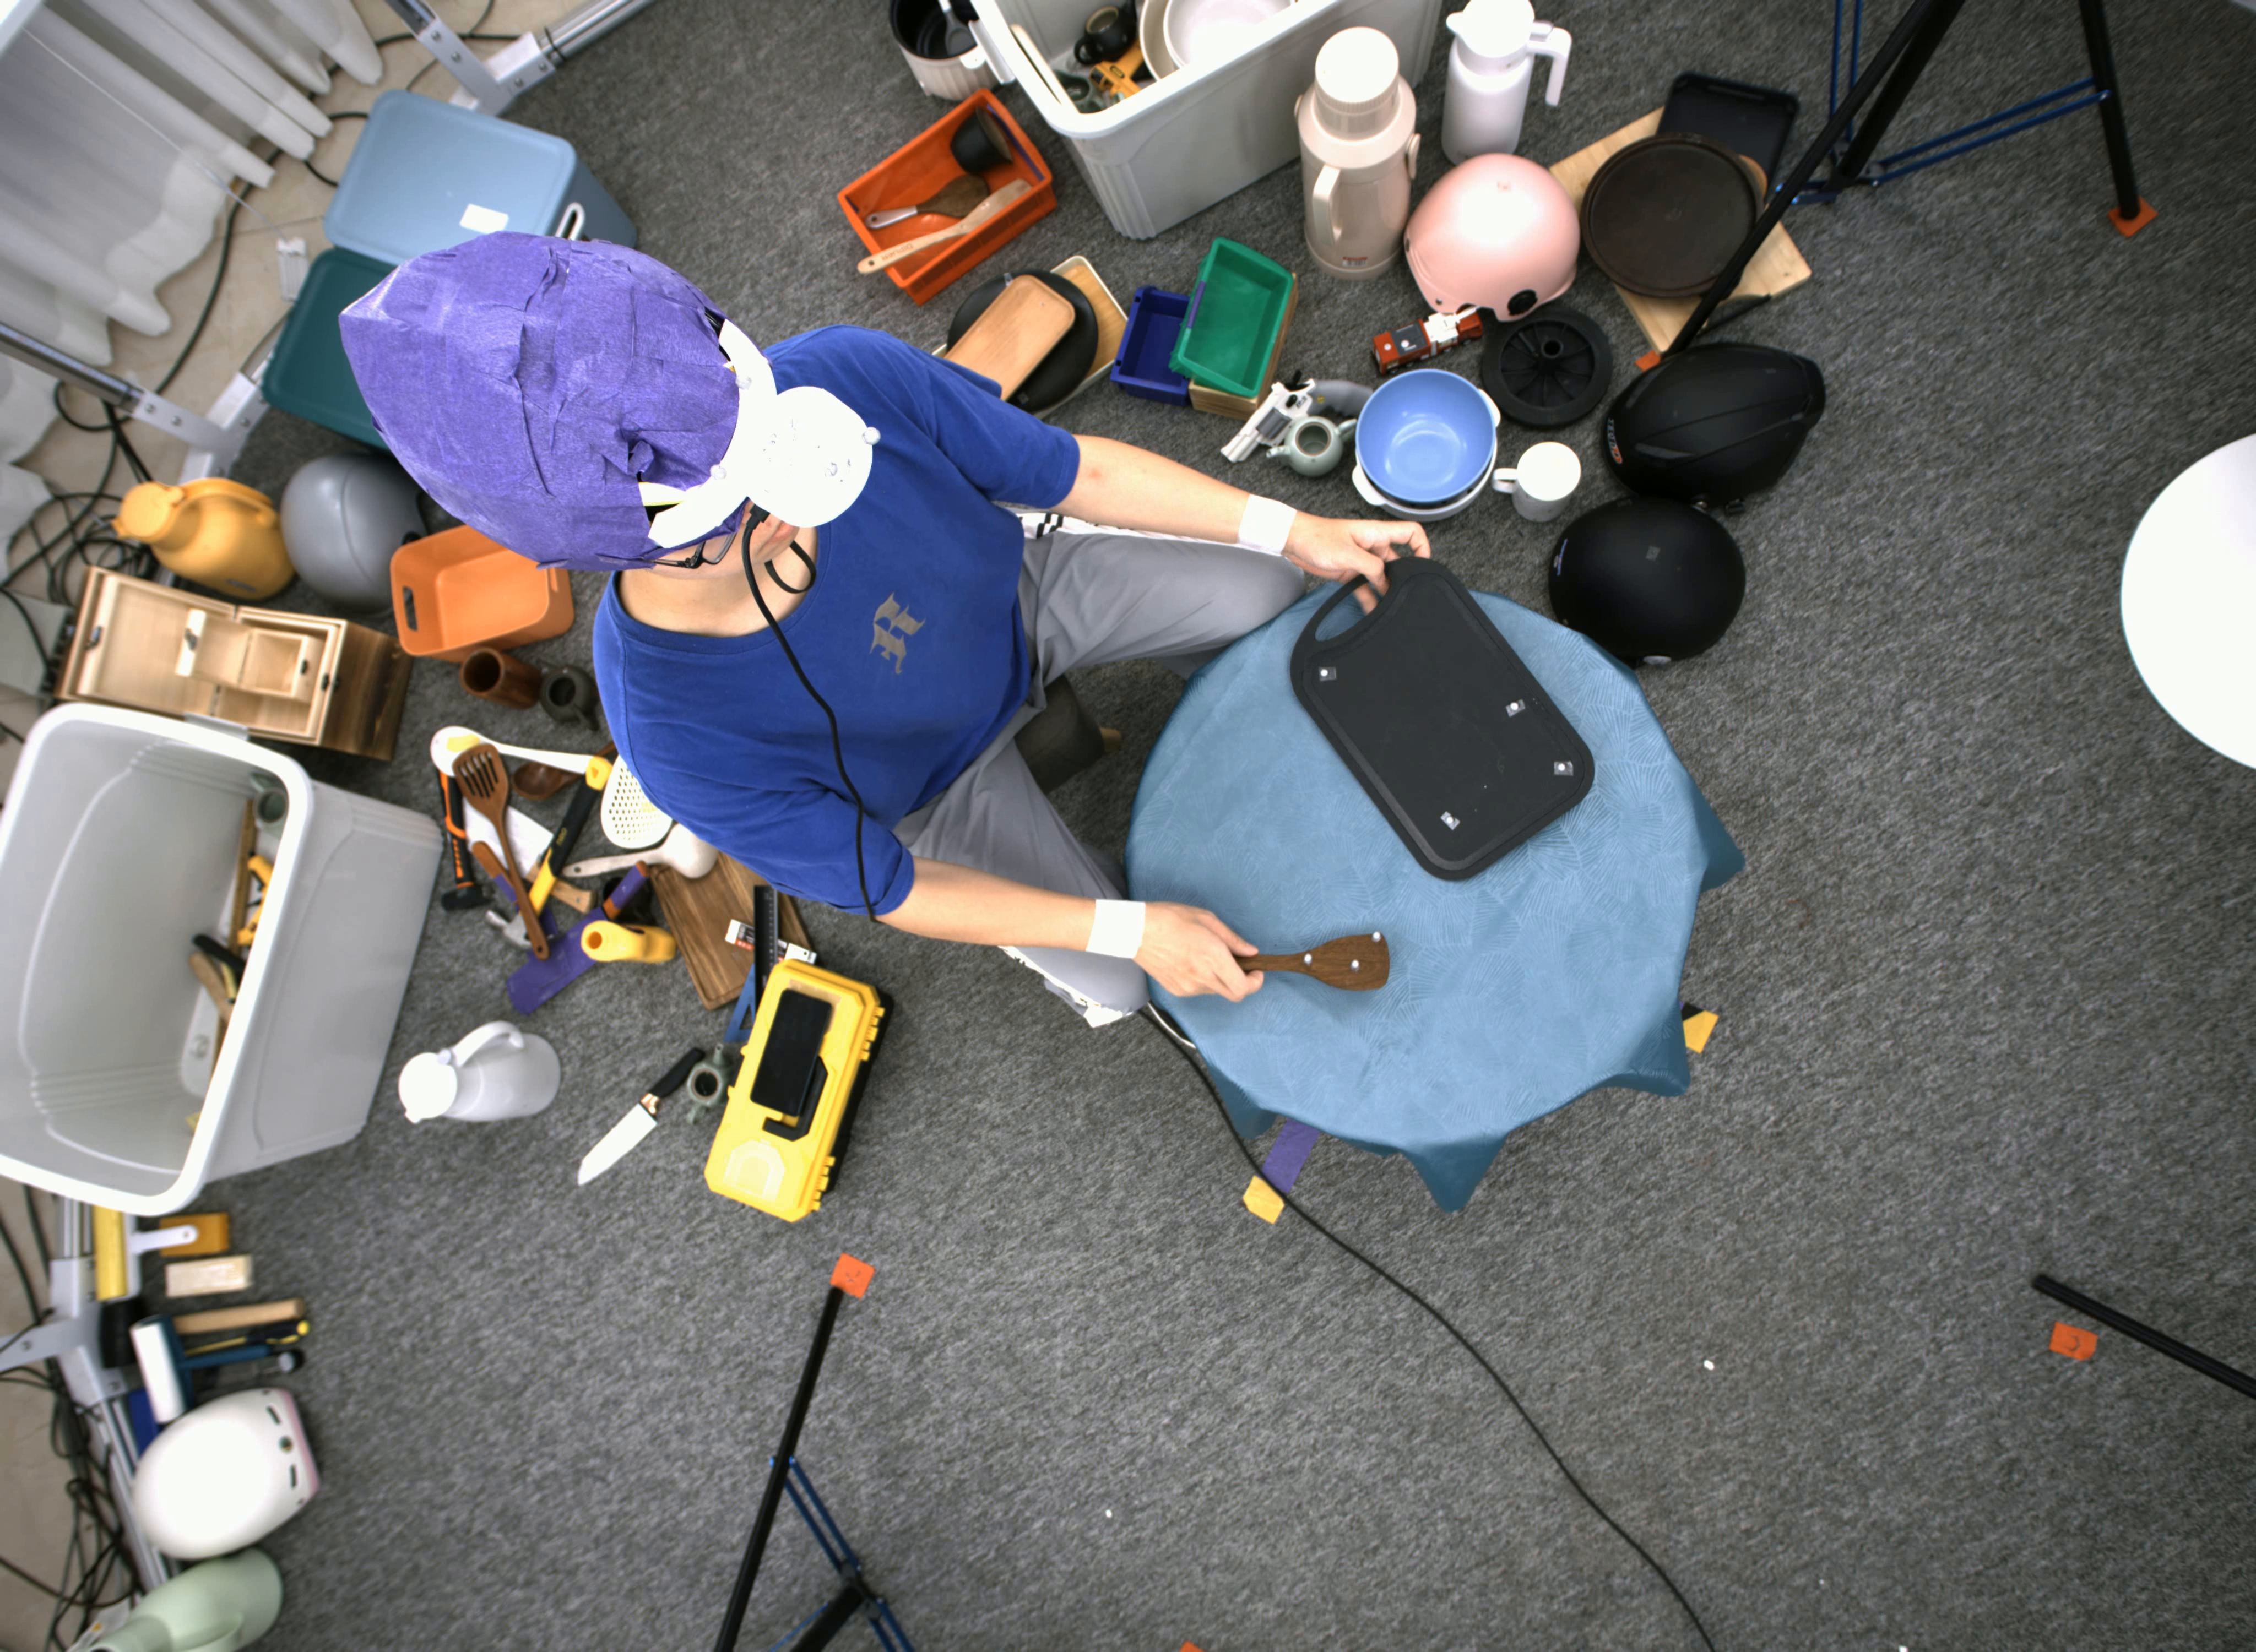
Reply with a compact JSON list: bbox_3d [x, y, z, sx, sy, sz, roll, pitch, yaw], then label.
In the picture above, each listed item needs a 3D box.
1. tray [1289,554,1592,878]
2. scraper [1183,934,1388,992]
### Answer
[{"bbox_3d":[0.312,-0.119,1.418,0.215,0.009,0.324,-38,84,25],"label":"tray"},{"bbox_3d":[0.162,0.142,1.431,0.212,0.011,0.074,-1,46,10],"label":"scraper"}]
